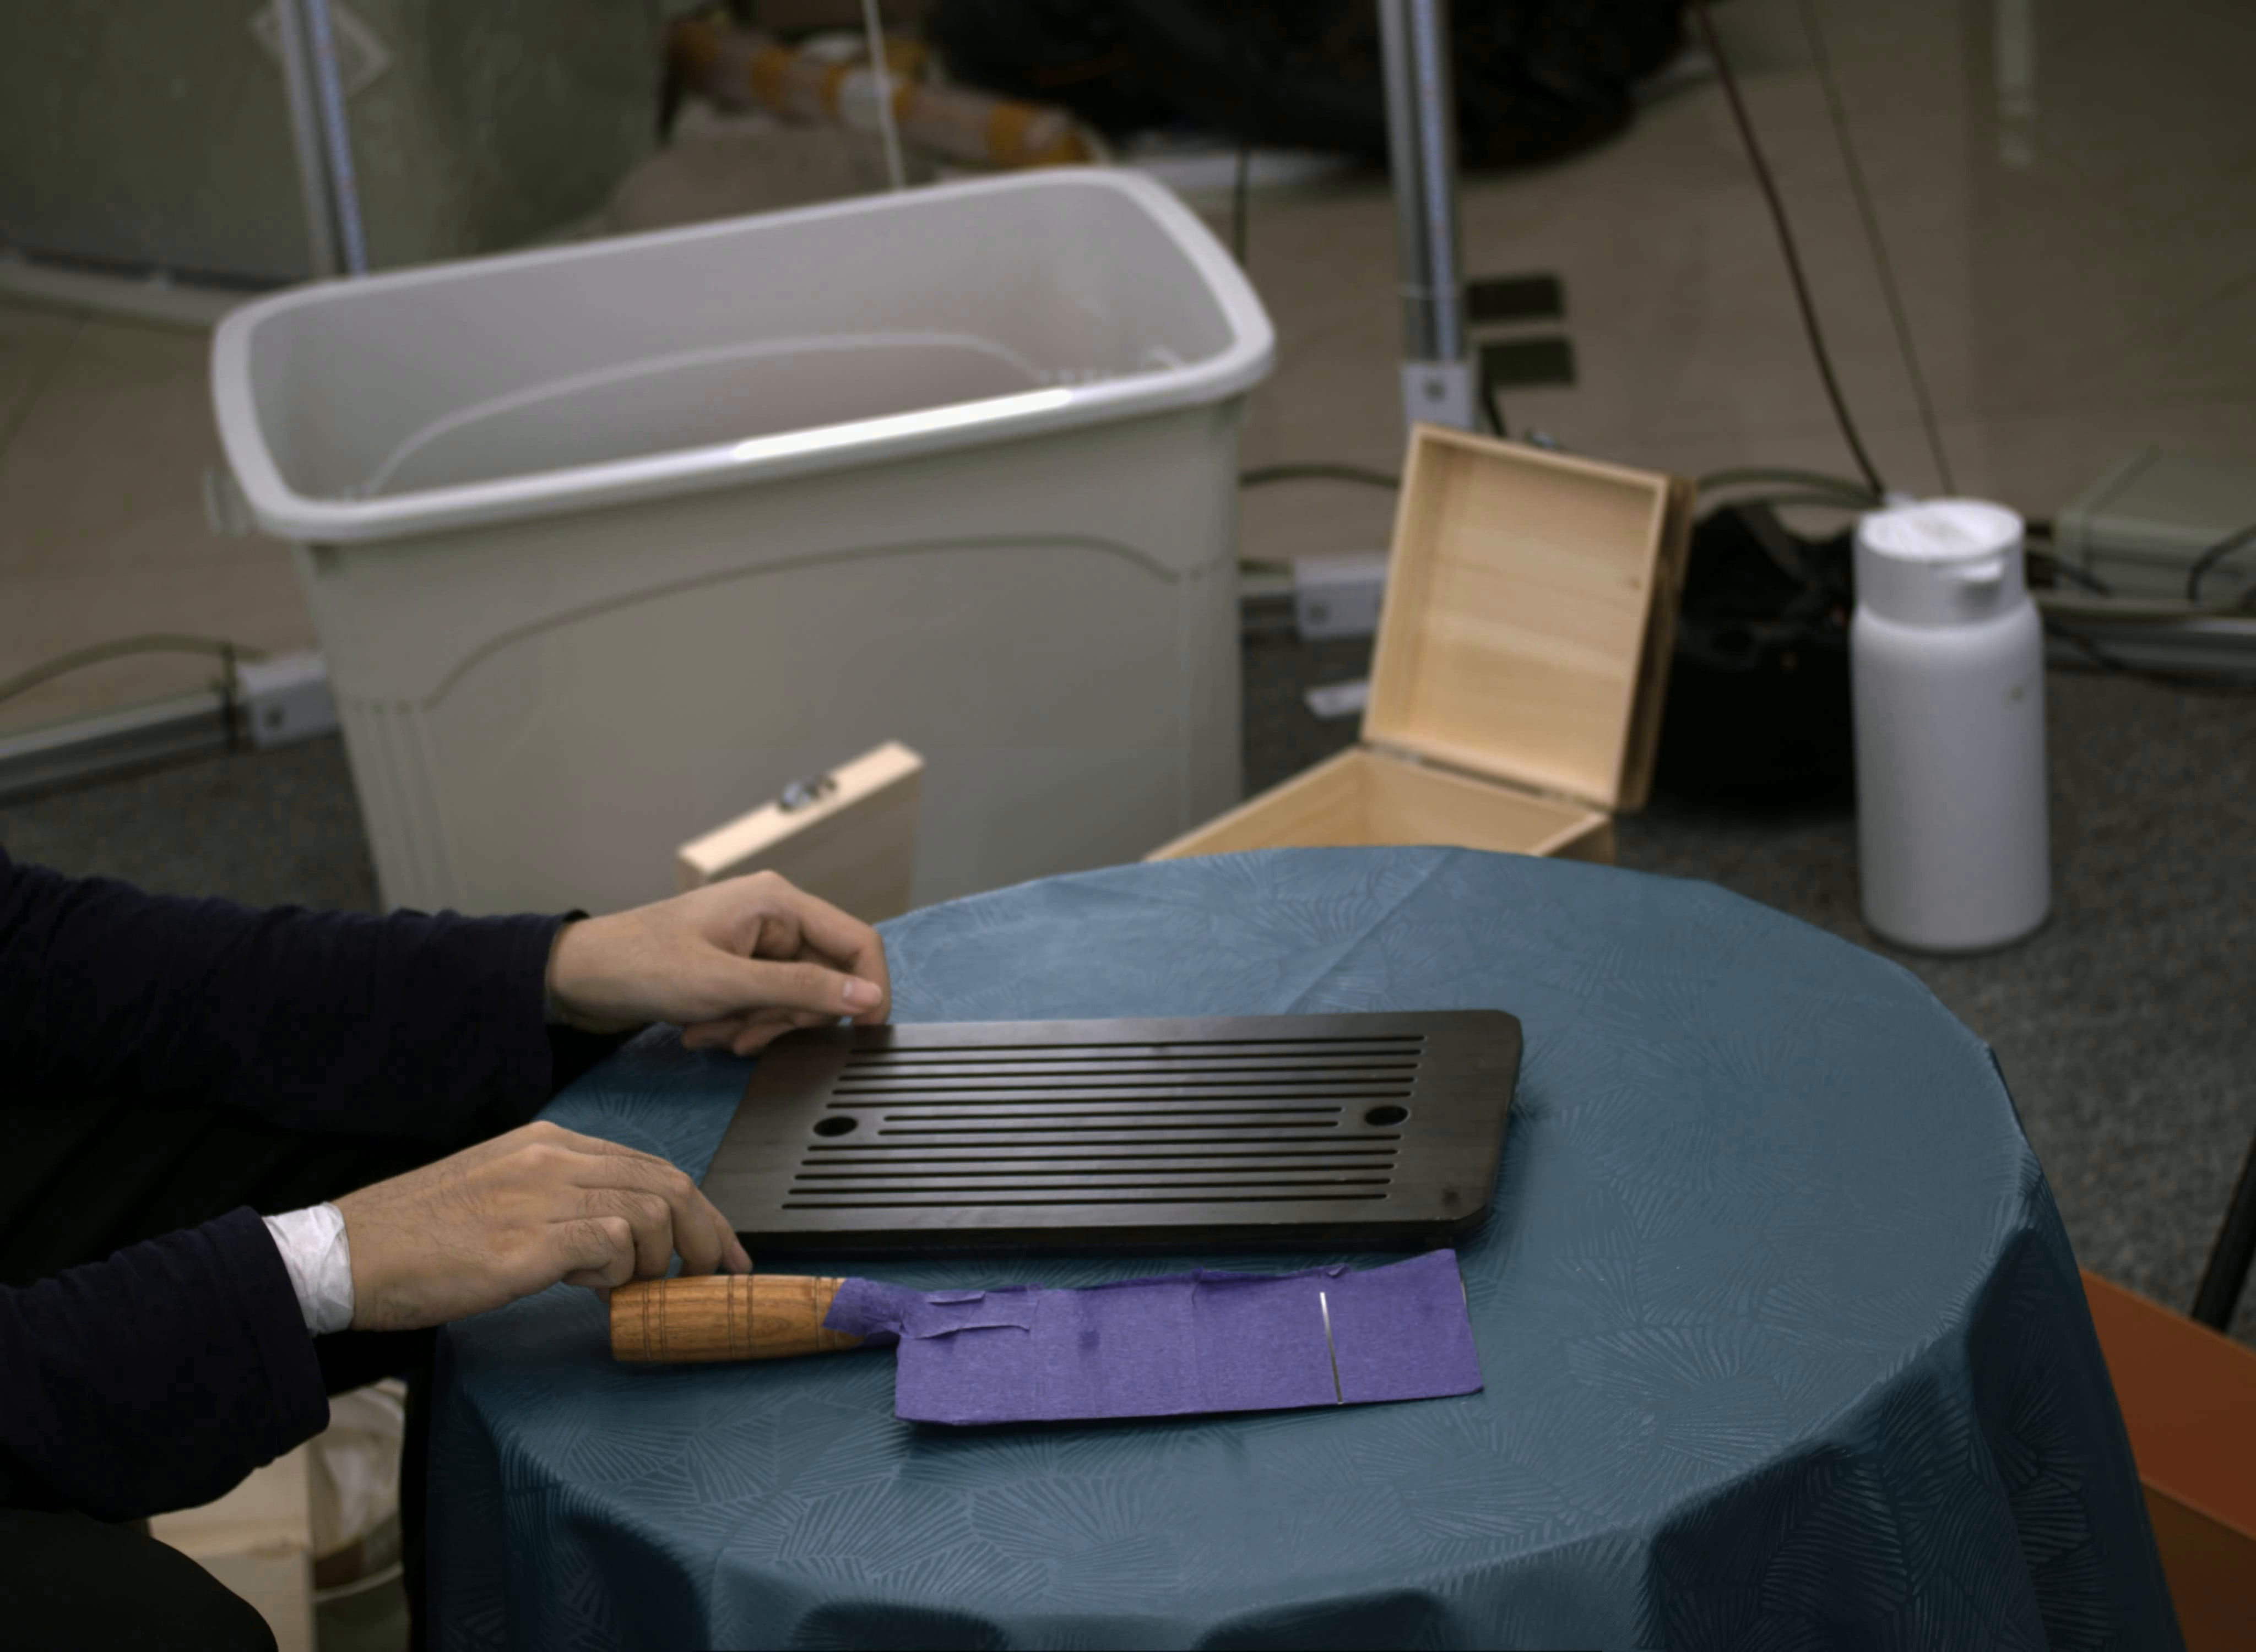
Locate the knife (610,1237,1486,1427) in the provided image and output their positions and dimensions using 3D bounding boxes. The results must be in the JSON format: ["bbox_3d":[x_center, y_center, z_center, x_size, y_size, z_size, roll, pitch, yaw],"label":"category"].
[{"bbox_3d":[-0.031,0.183,2.031,0.315,0.033,0.102,-6,24,1],"label":"knife"}]

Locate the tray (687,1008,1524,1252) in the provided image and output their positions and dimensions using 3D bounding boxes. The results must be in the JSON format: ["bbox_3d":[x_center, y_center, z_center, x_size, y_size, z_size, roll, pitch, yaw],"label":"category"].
[{"bbox_3d":[-0.006,0.118,2.178,0.305,0.019,0.167,-2,25,11],"label":"tray"}]
